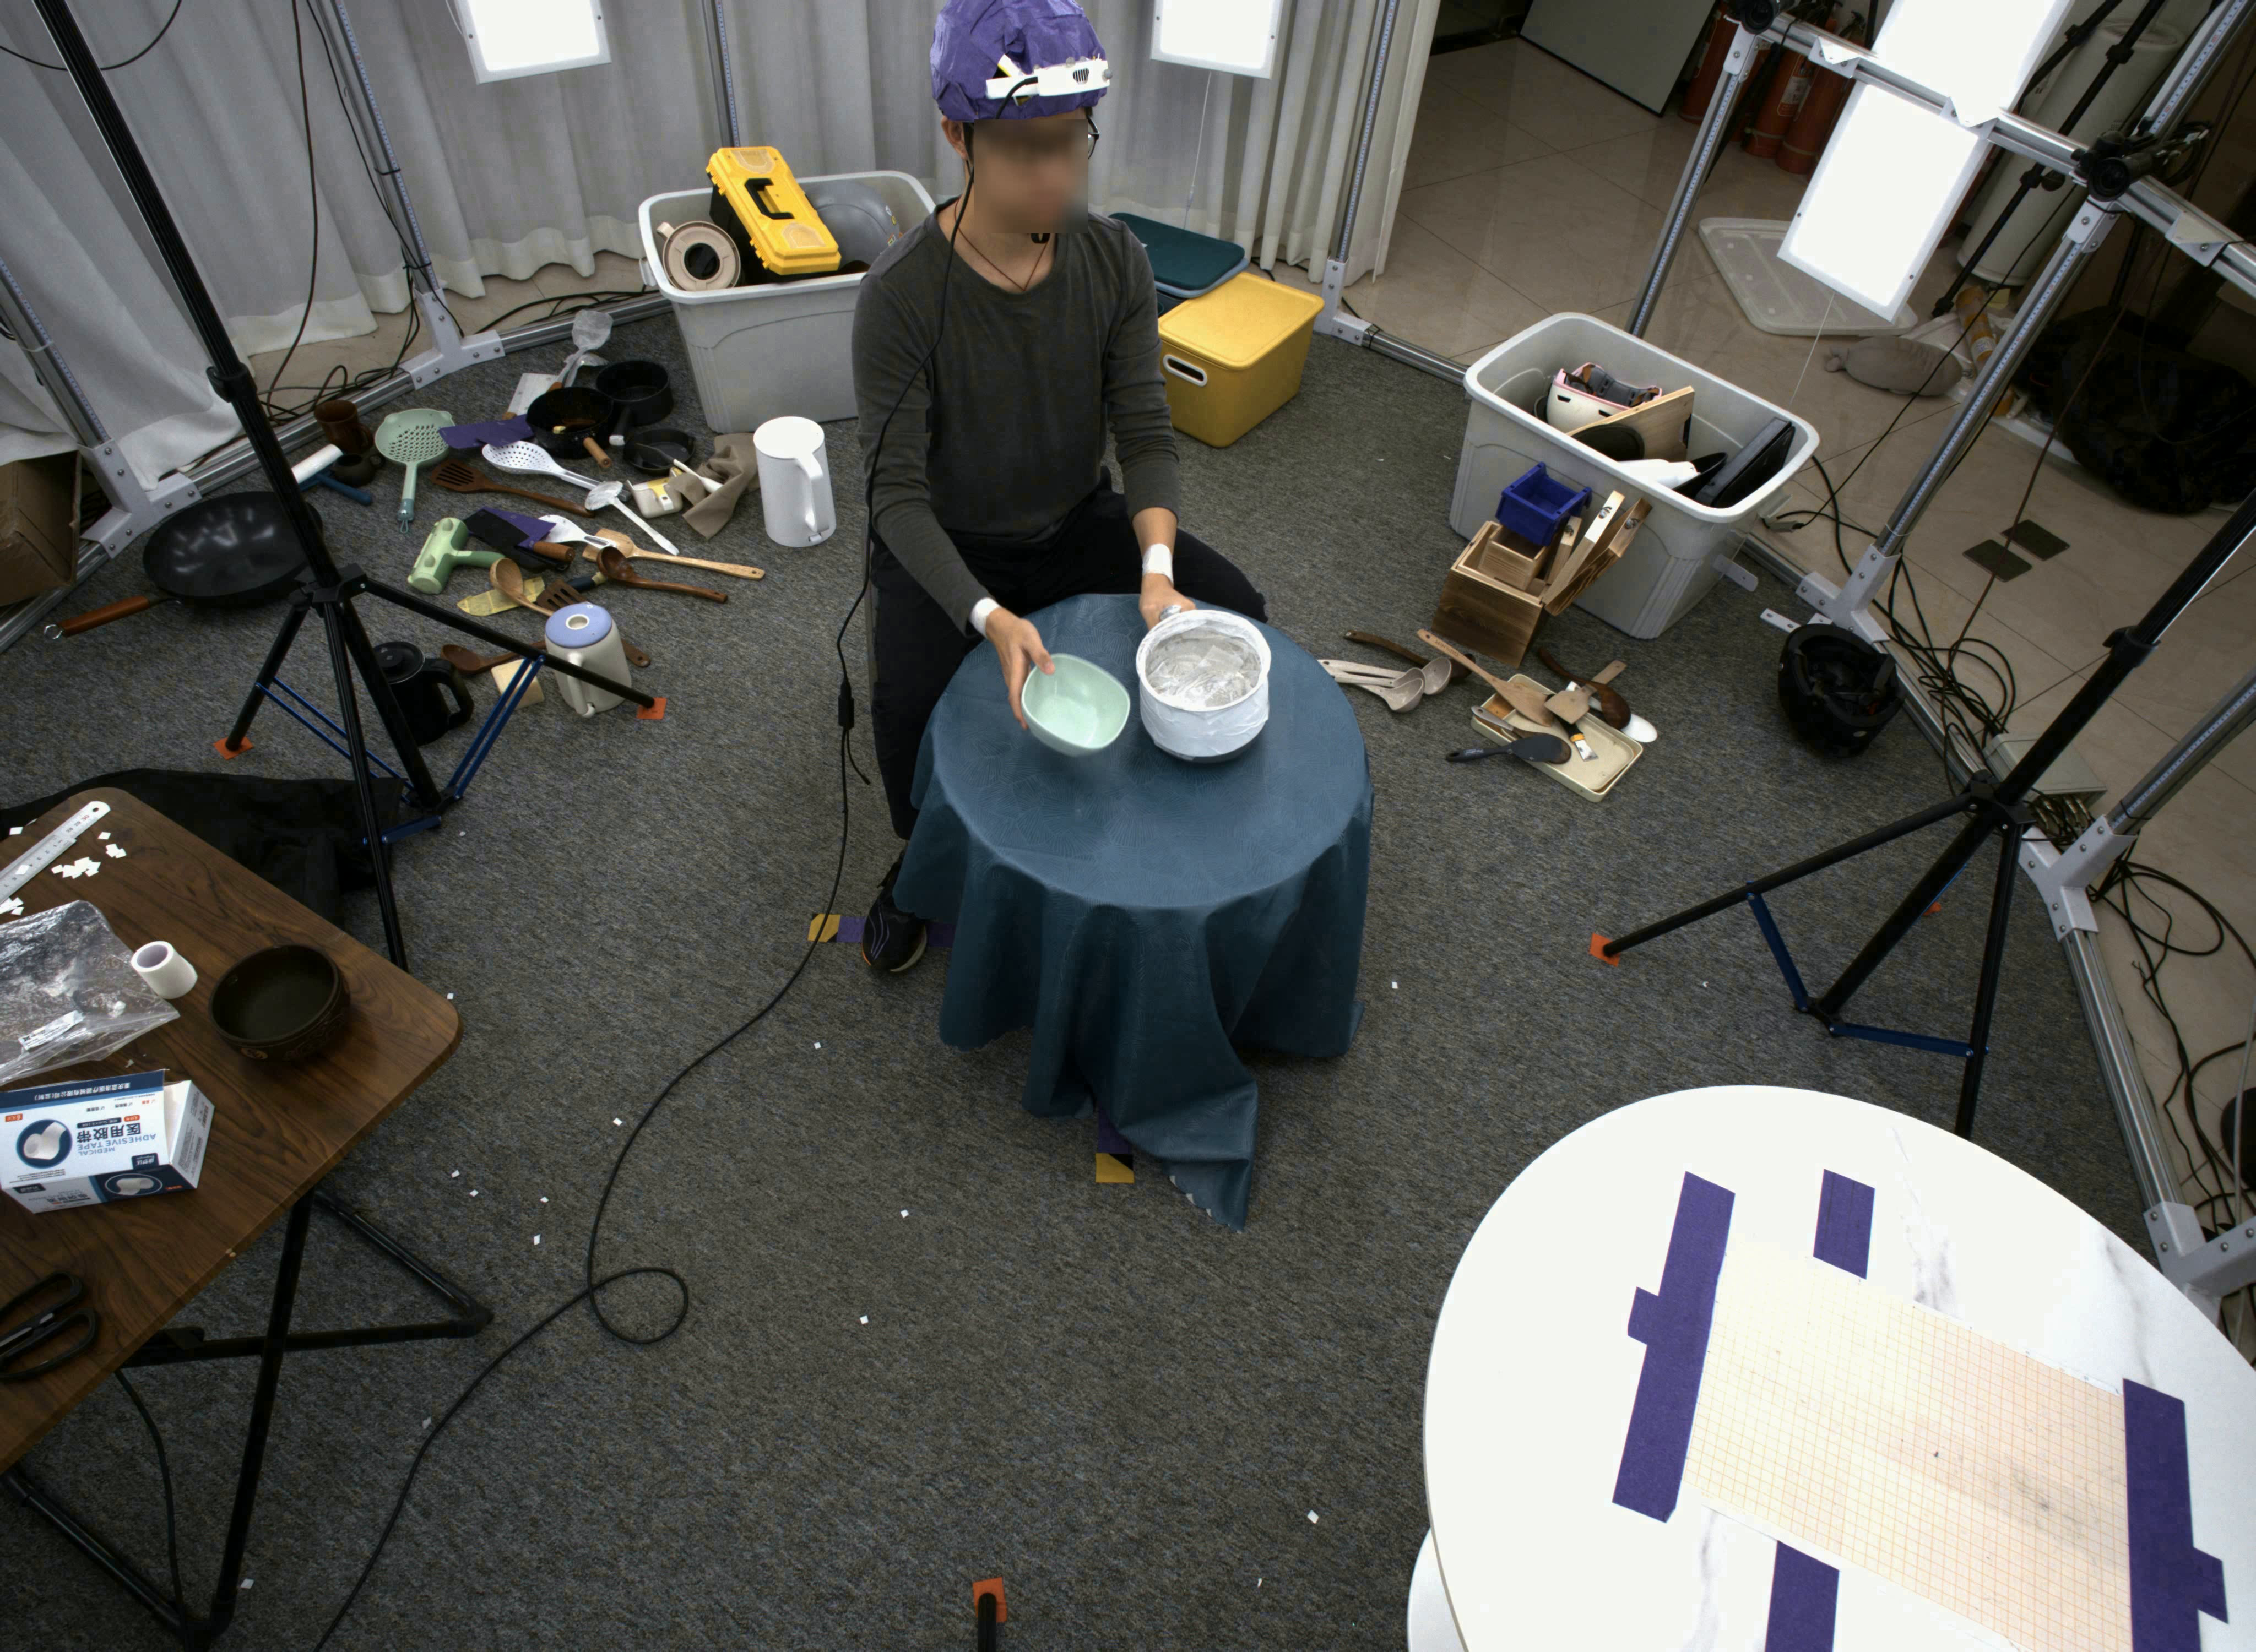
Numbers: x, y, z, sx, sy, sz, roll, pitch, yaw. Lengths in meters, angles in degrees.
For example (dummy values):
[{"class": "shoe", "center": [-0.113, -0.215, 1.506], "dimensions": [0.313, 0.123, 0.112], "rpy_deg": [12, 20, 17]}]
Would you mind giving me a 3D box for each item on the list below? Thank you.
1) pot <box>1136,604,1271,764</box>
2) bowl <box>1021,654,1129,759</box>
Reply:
[{"class": "pot", "center": [0.092, -0.205, 1.748], "dimensions": [0.179, 0.133, 0.239], "rpy_deg": [-21, 56, -10]}, {"class": "bowl", "center": [-0.077, -0.146, 1.668], "dimensions": [0.150, 0.058, 0.155], "rpy_deg": [11, 58, -19]}]
